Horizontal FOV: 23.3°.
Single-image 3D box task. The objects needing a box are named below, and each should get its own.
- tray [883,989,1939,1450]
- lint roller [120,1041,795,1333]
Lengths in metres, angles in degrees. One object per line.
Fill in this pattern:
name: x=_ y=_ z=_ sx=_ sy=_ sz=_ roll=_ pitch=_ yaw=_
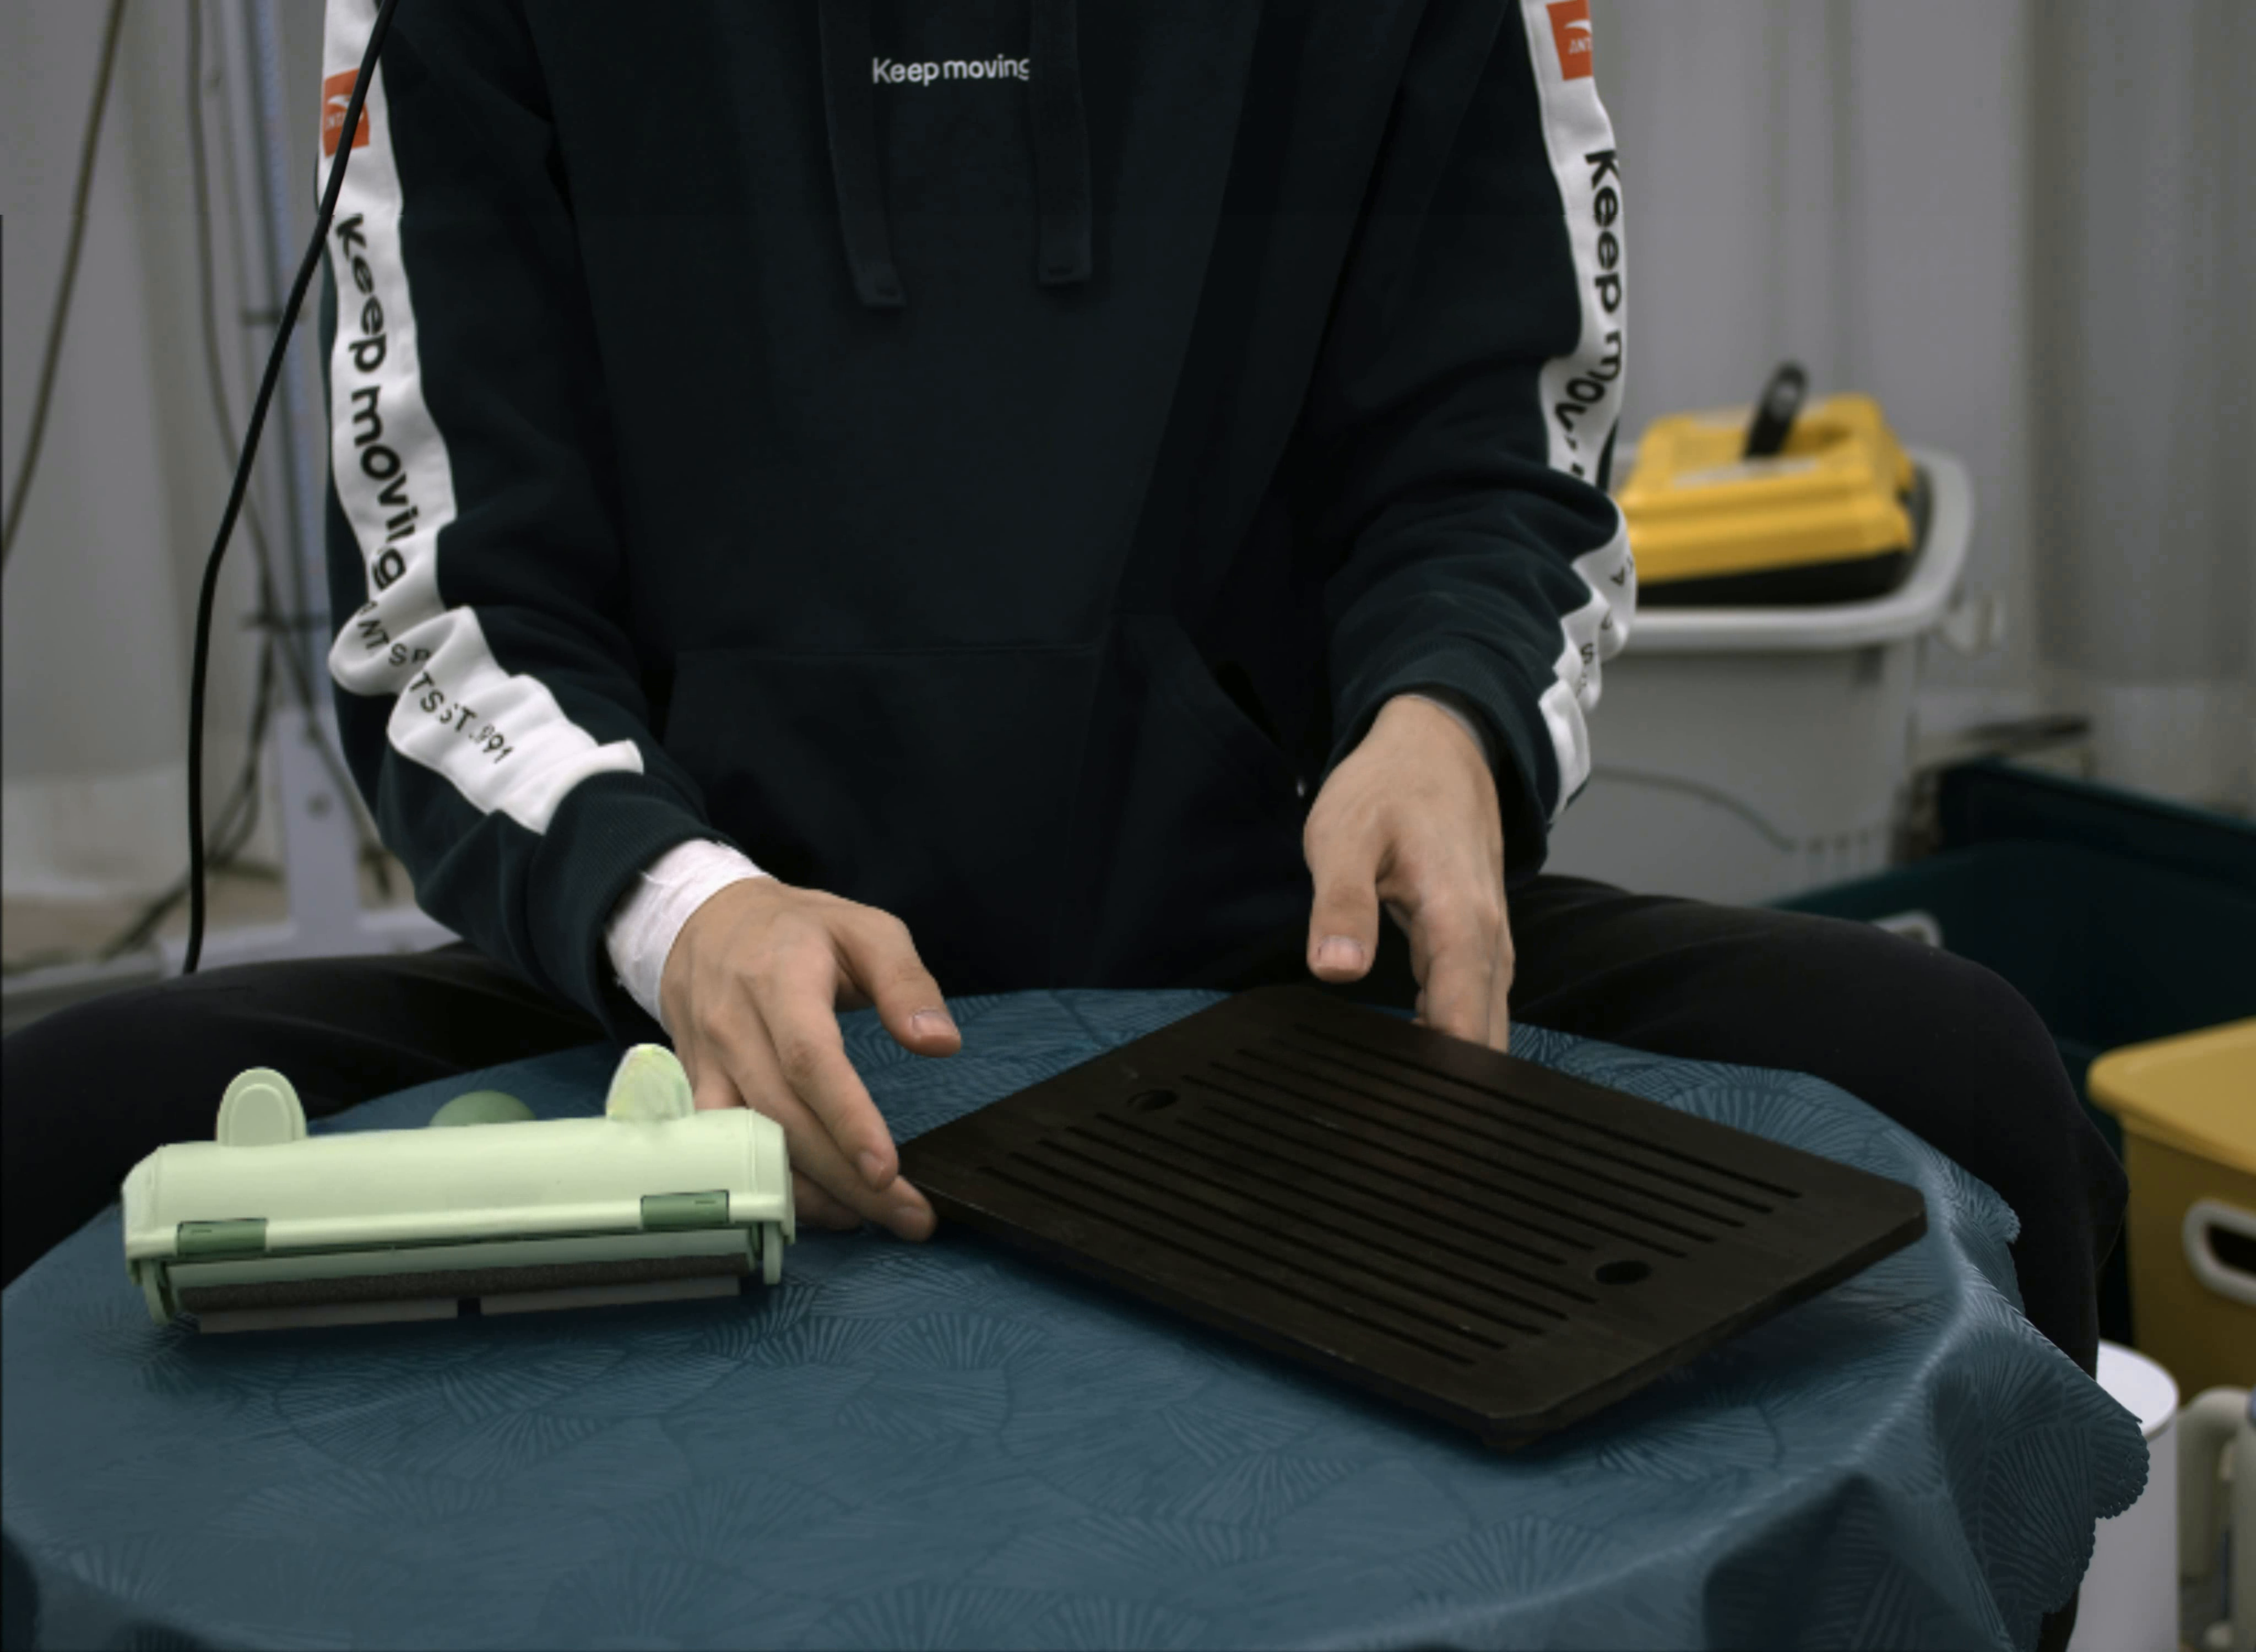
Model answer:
tray: x=0.078 y=0.113 z=1.630 sx=0.170 sy=0.018 sz=0.308 roll=-22 pitch=24 yaw=-33
lint roller: x=-0.203 y=0.093 z=1.682 sx=0.198 sy=0.082 sz=0.185 roll=-4 pitch=18 yaw=-2
